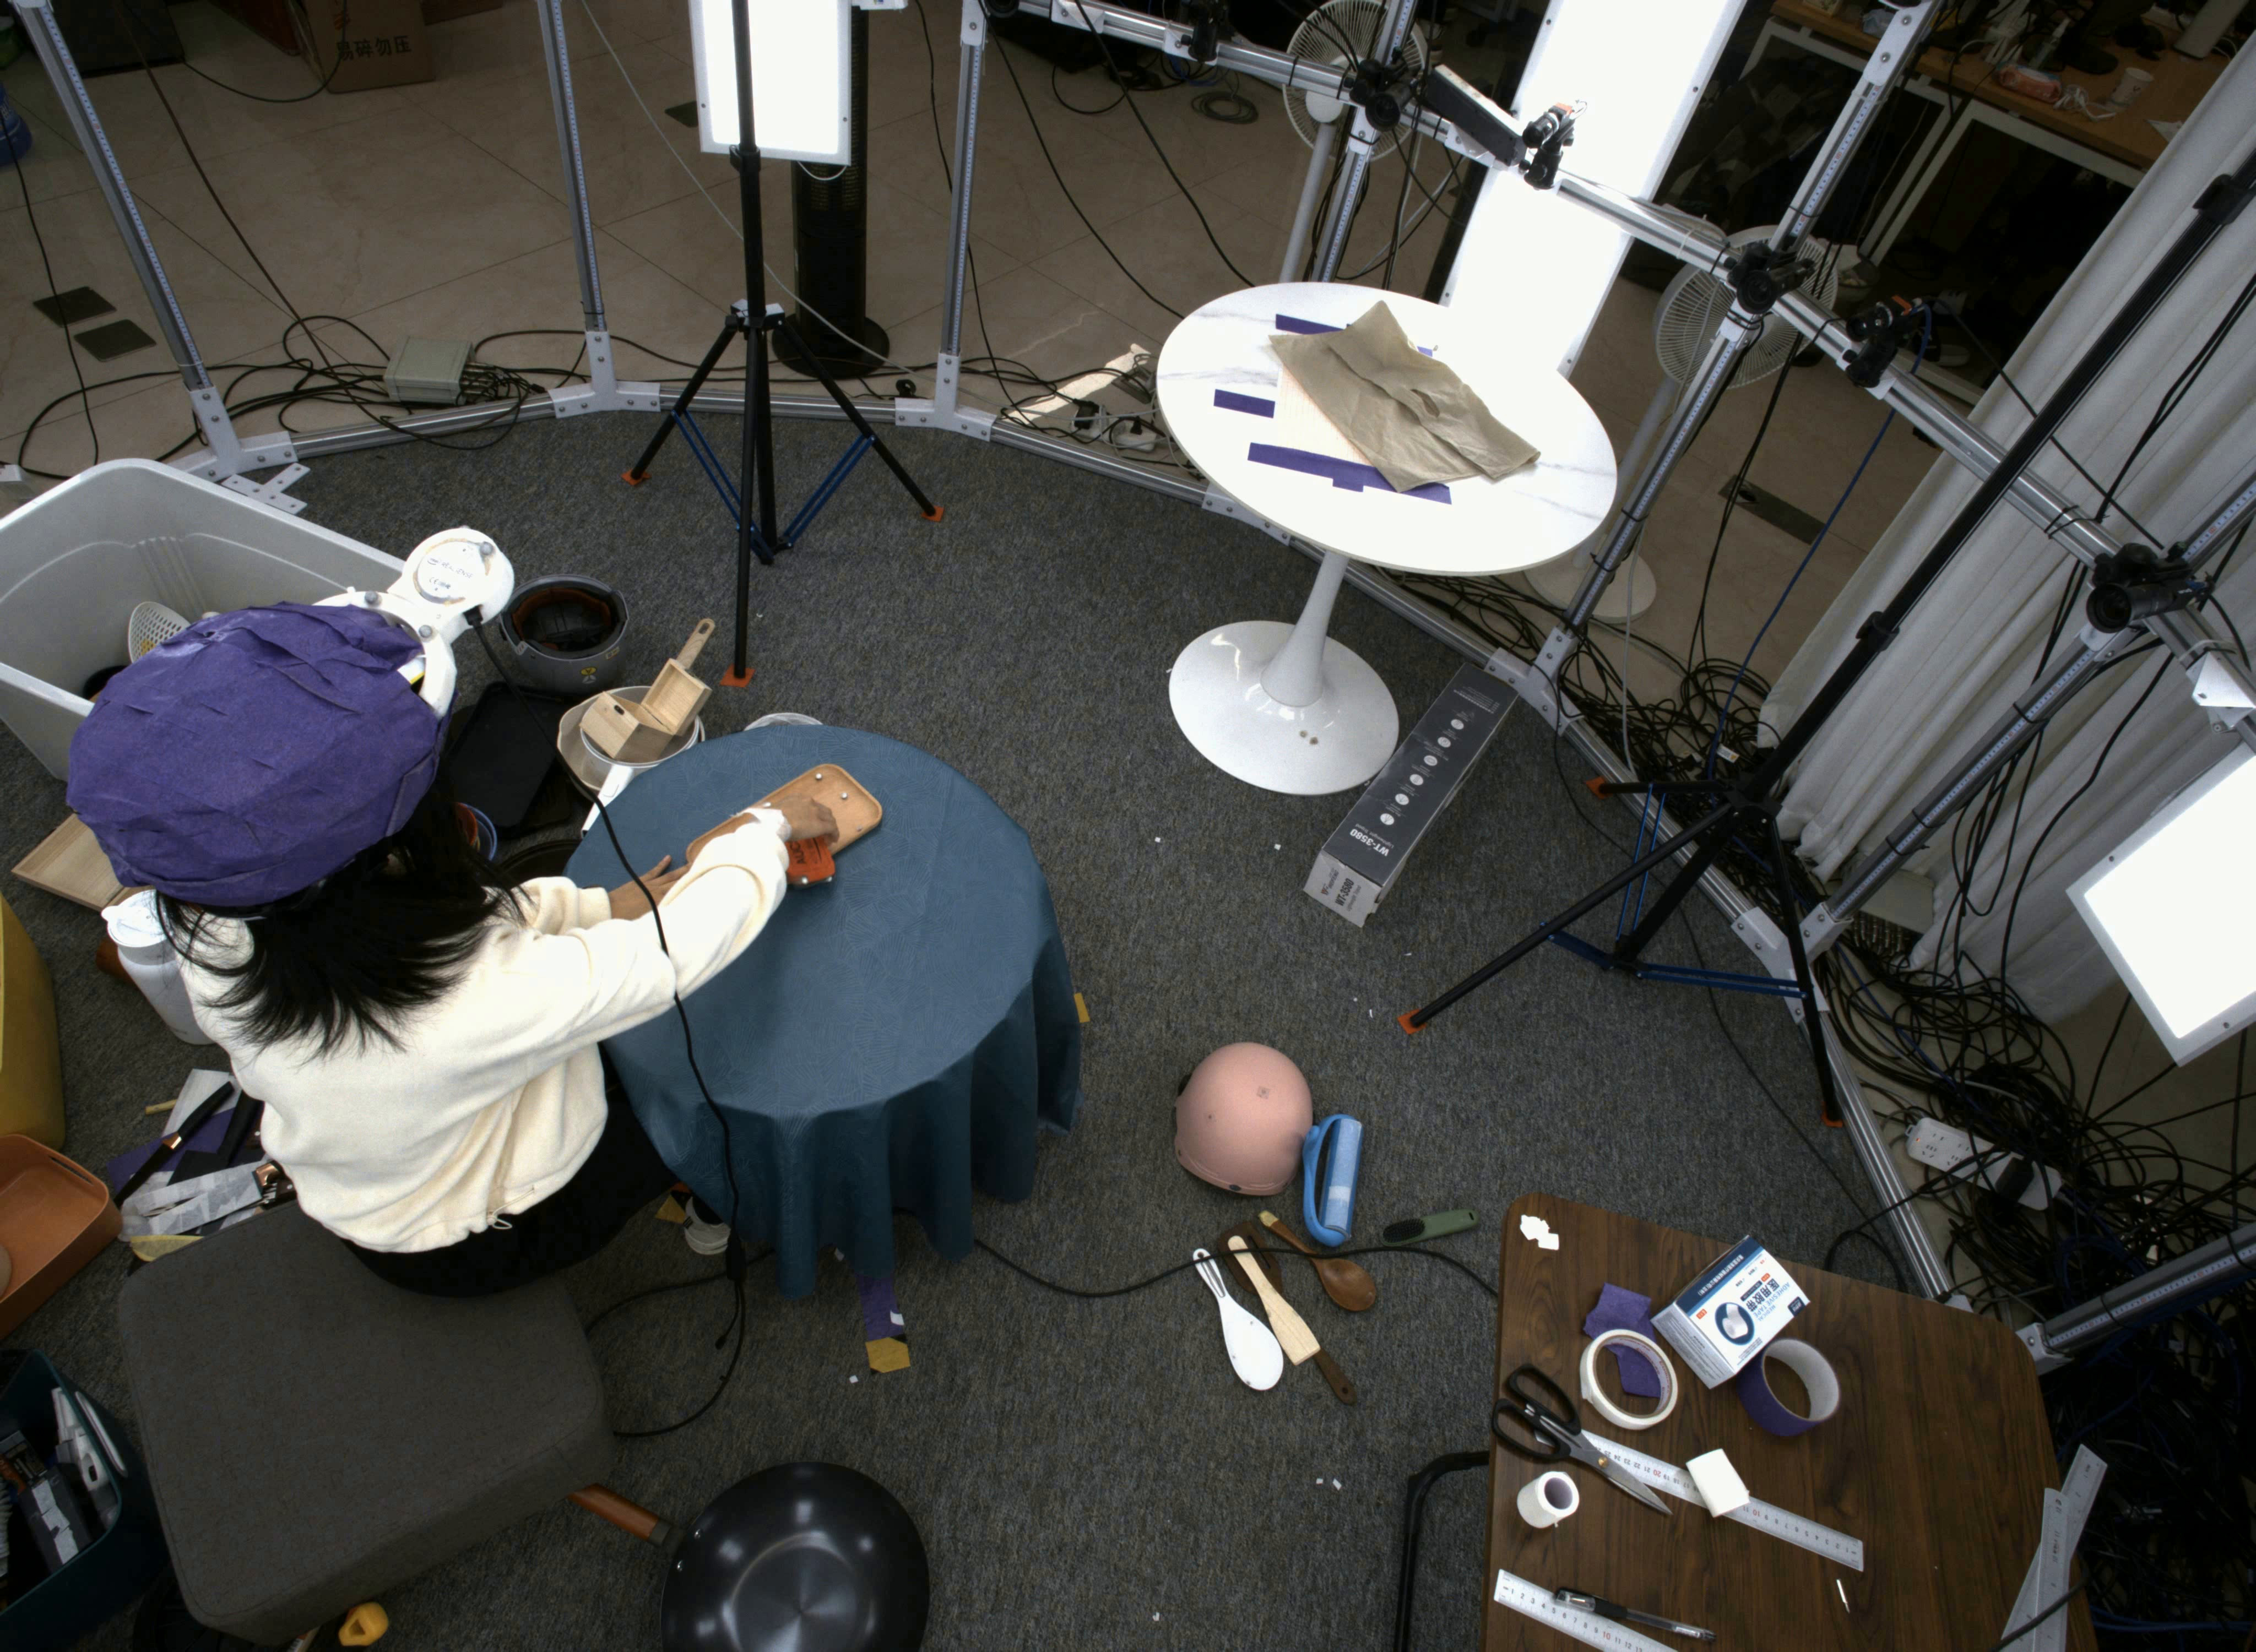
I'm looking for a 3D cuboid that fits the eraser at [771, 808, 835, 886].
[{"bbox_3d":[-0.420,0.025,1.671,0.059,0.023,0.105,-16,54,-23],"label":"eraser"}]

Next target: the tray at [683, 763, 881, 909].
[{"bbox_3d":[-0.450,0.009,1.693,0.127,0.023,0.251,41,55,20],"label":"tray"}]
